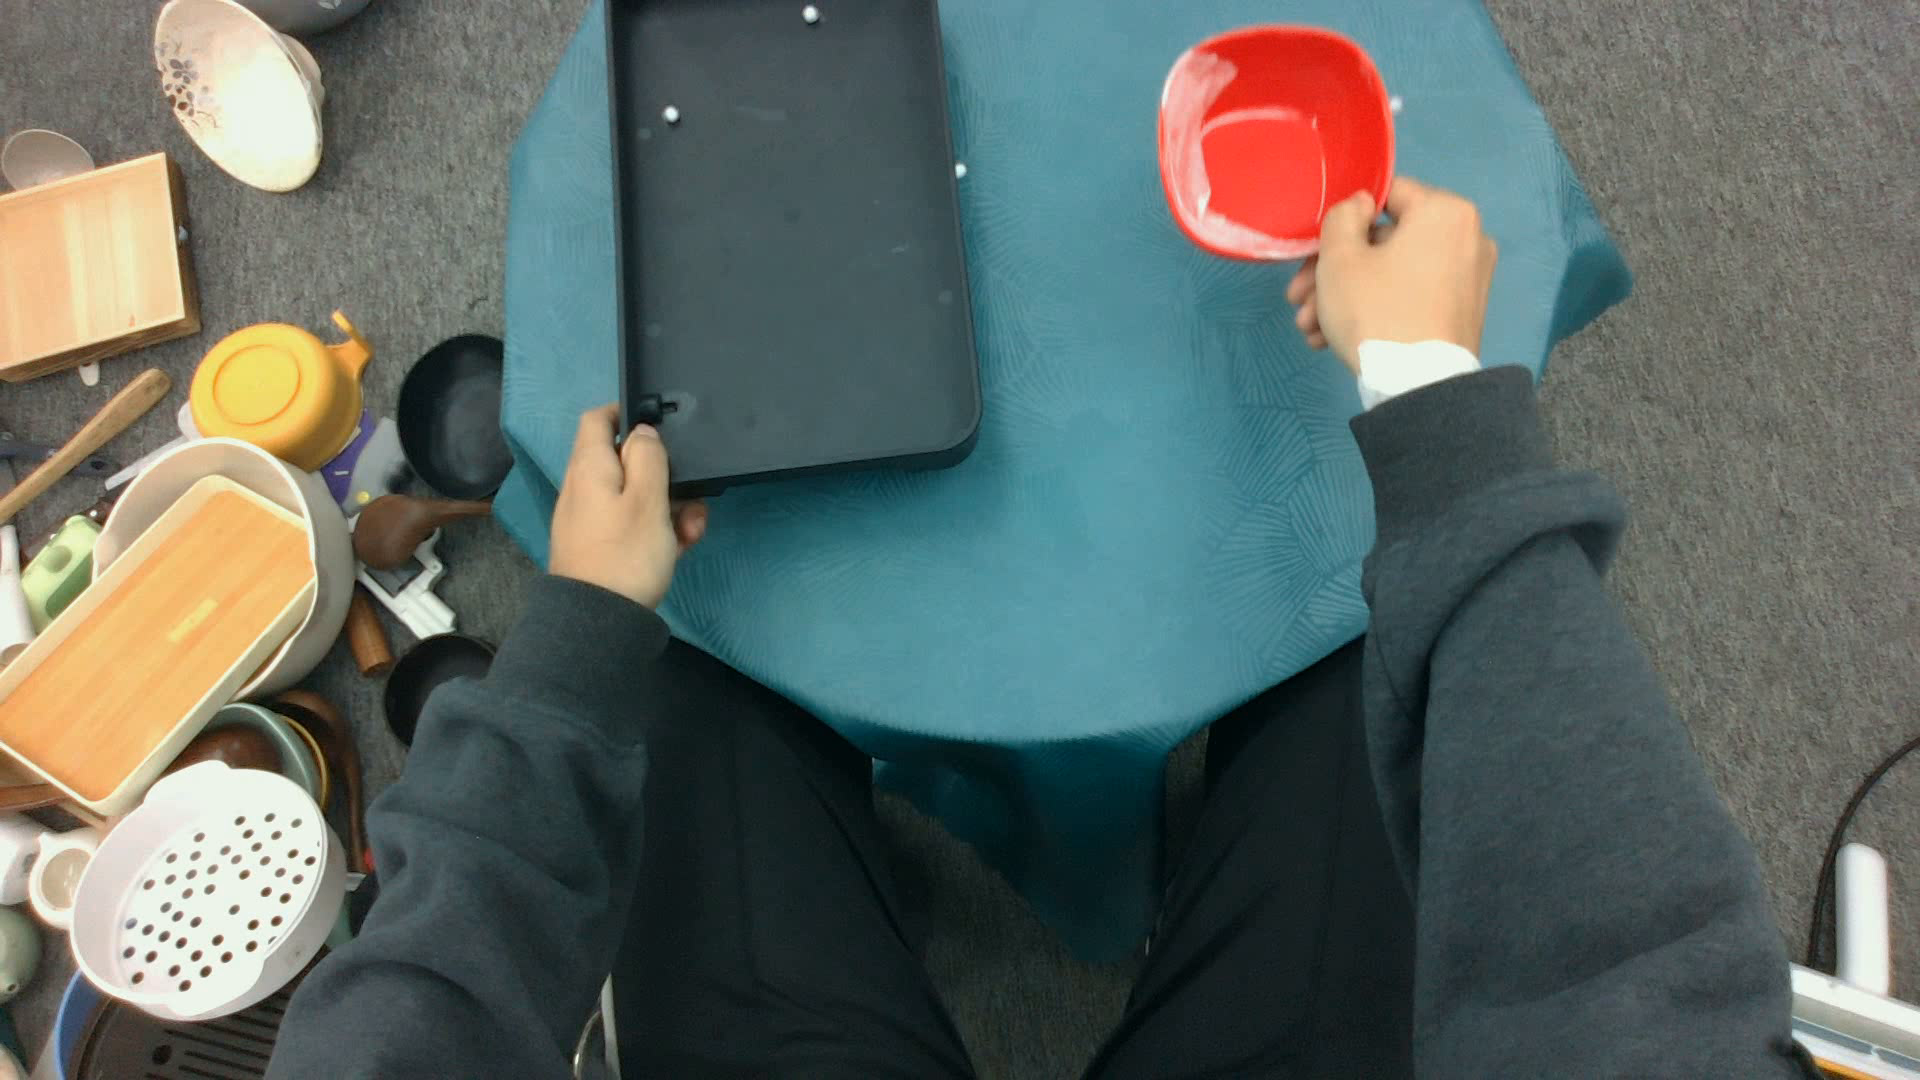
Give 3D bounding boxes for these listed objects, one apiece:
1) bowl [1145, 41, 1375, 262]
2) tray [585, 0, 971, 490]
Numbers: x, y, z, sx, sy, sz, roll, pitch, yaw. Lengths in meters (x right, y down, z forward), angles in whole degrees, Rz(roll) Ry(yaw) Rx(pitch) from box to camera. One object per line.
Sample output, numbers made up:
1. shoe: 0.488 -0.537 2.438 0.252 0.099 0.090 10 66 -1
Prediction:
1. bowl: 0.144 -0.185 0.685 0.119 0.051 0.119 0 81 0
2. tray: -0.102 -0.186 0.743 0.184 0.037 0.319 -7 72 -1
